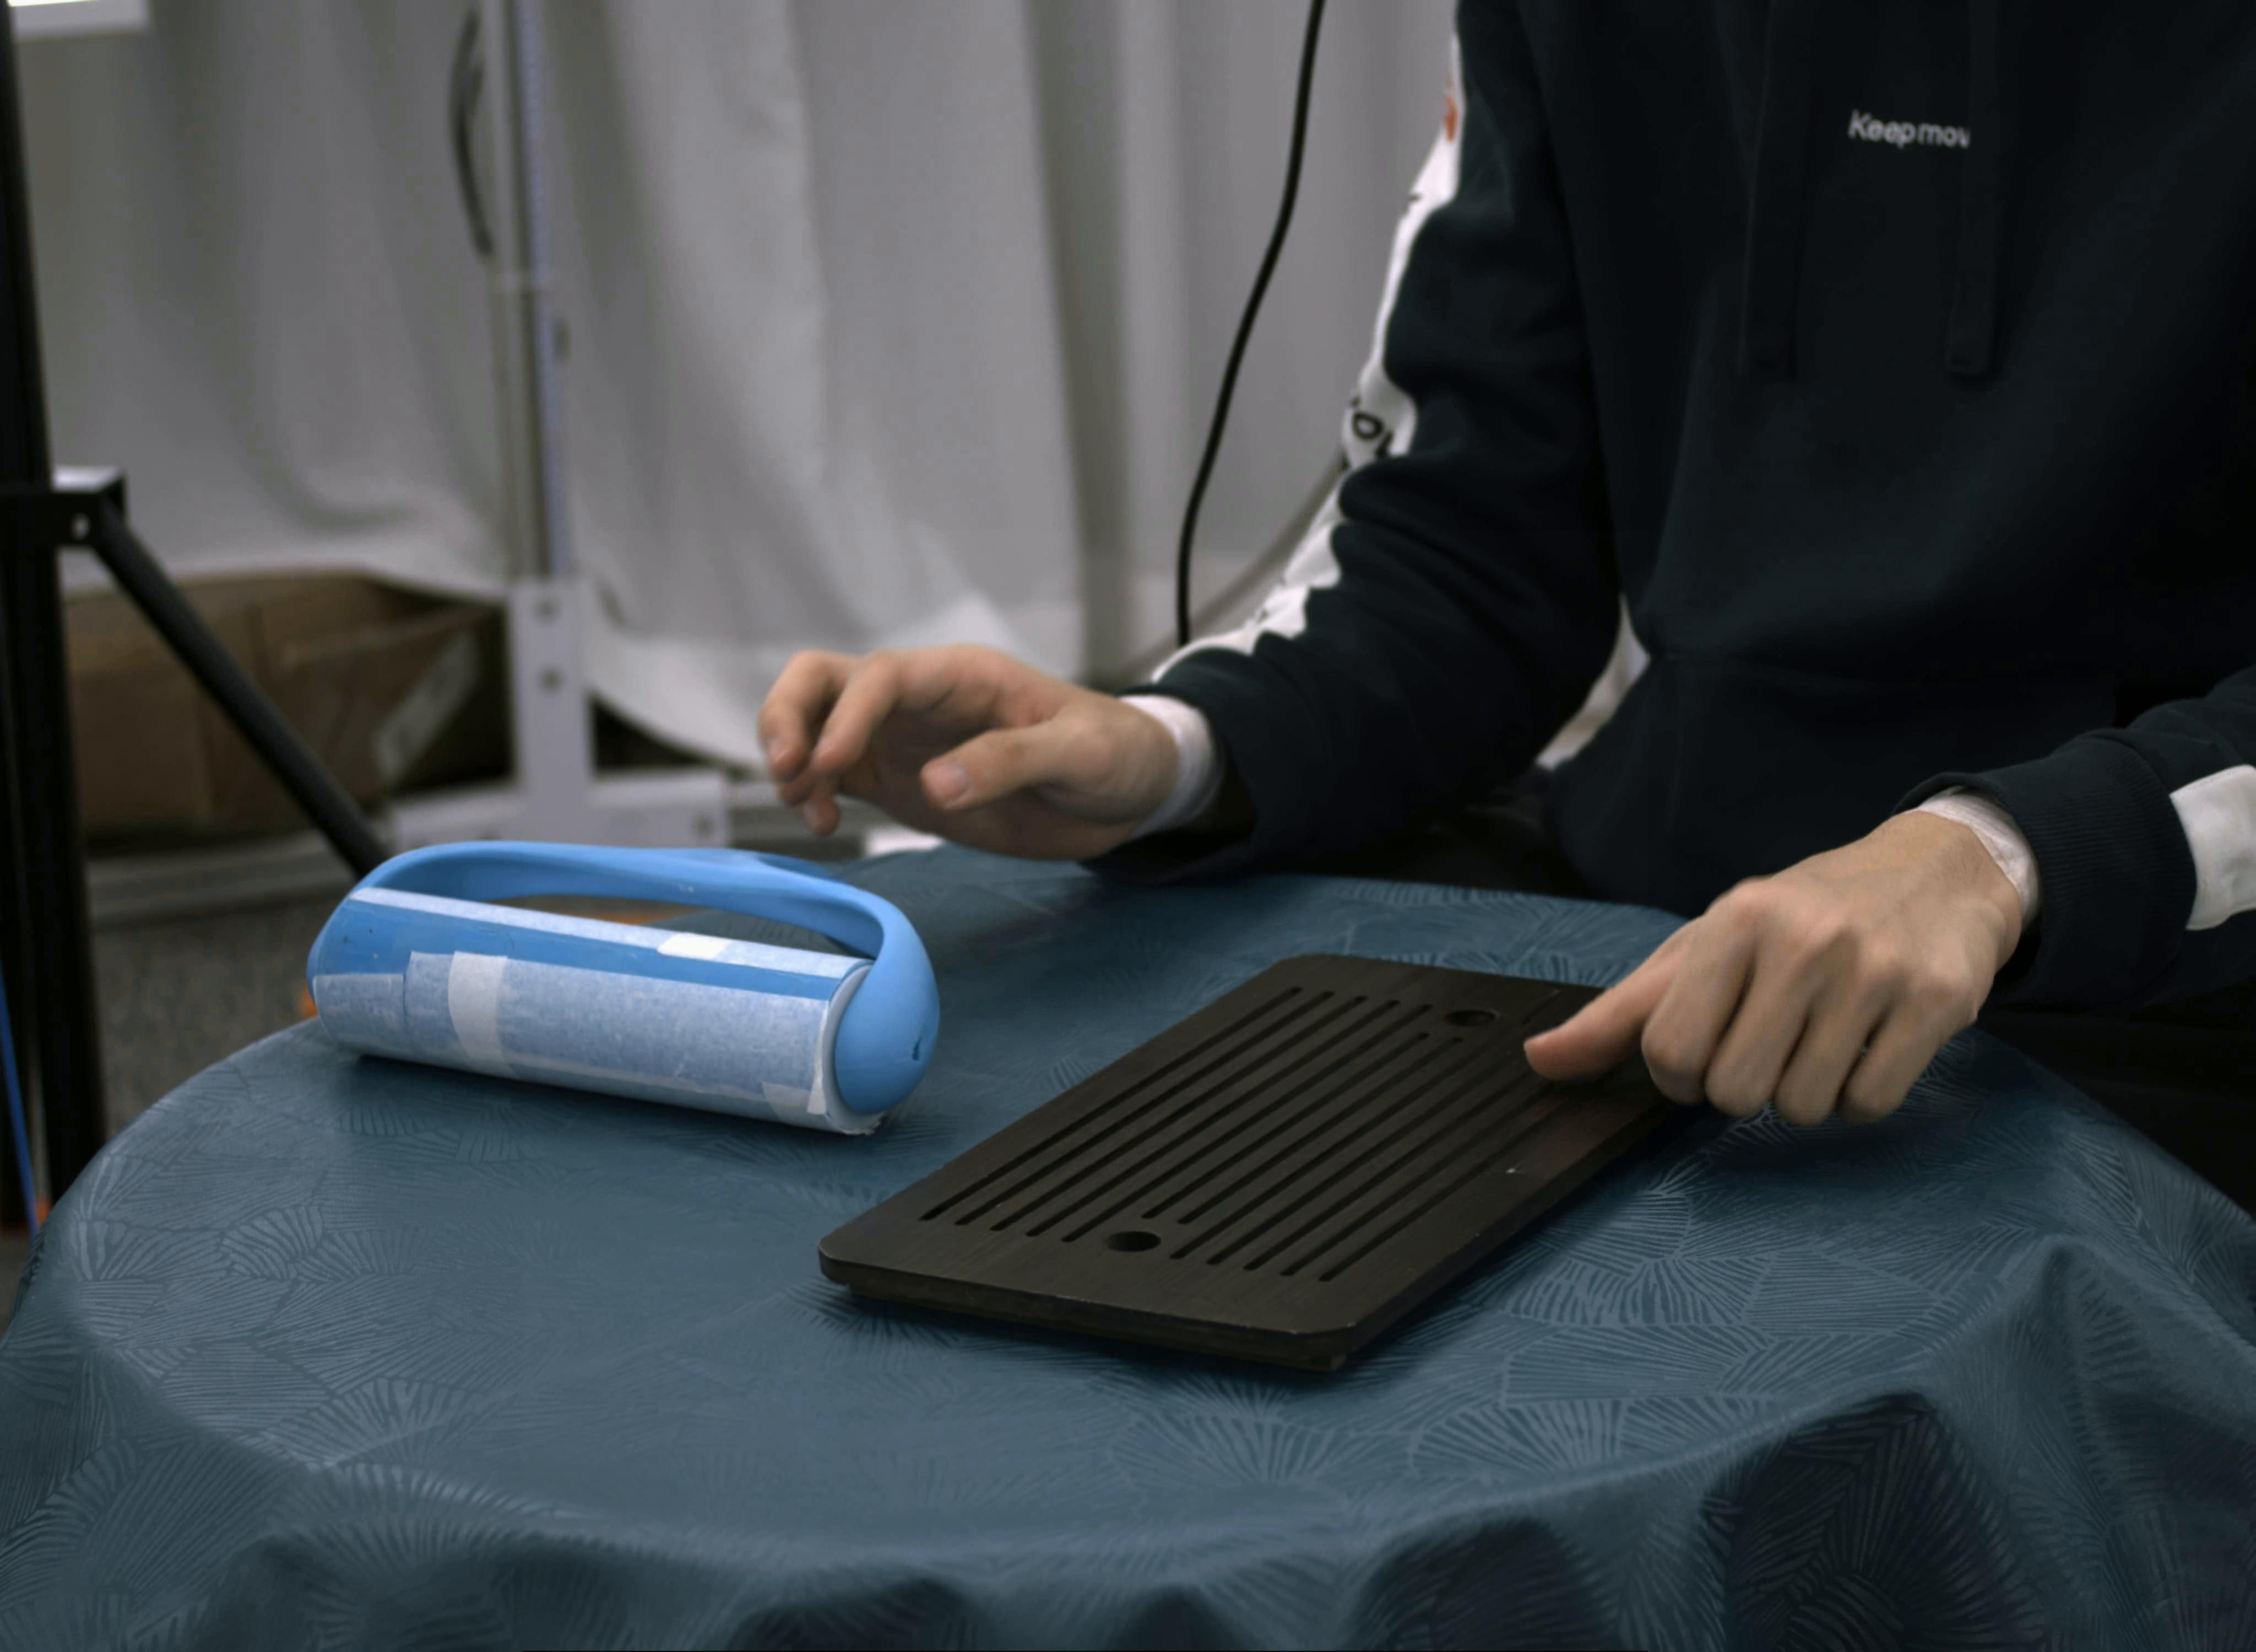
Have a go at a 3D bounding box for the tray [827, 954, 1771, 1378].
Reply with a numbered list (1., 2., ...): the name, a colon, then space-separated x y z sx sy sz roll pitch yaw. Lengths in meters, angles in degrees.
1. tray: 0.058 0.096 1.557 0.173 0.018 0.300 6 18 29

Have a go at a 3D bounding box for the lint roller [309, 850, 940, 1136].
1. lint roller: -0.134 0.040 1.715 0.233 0.068 0.177 4 19 29
